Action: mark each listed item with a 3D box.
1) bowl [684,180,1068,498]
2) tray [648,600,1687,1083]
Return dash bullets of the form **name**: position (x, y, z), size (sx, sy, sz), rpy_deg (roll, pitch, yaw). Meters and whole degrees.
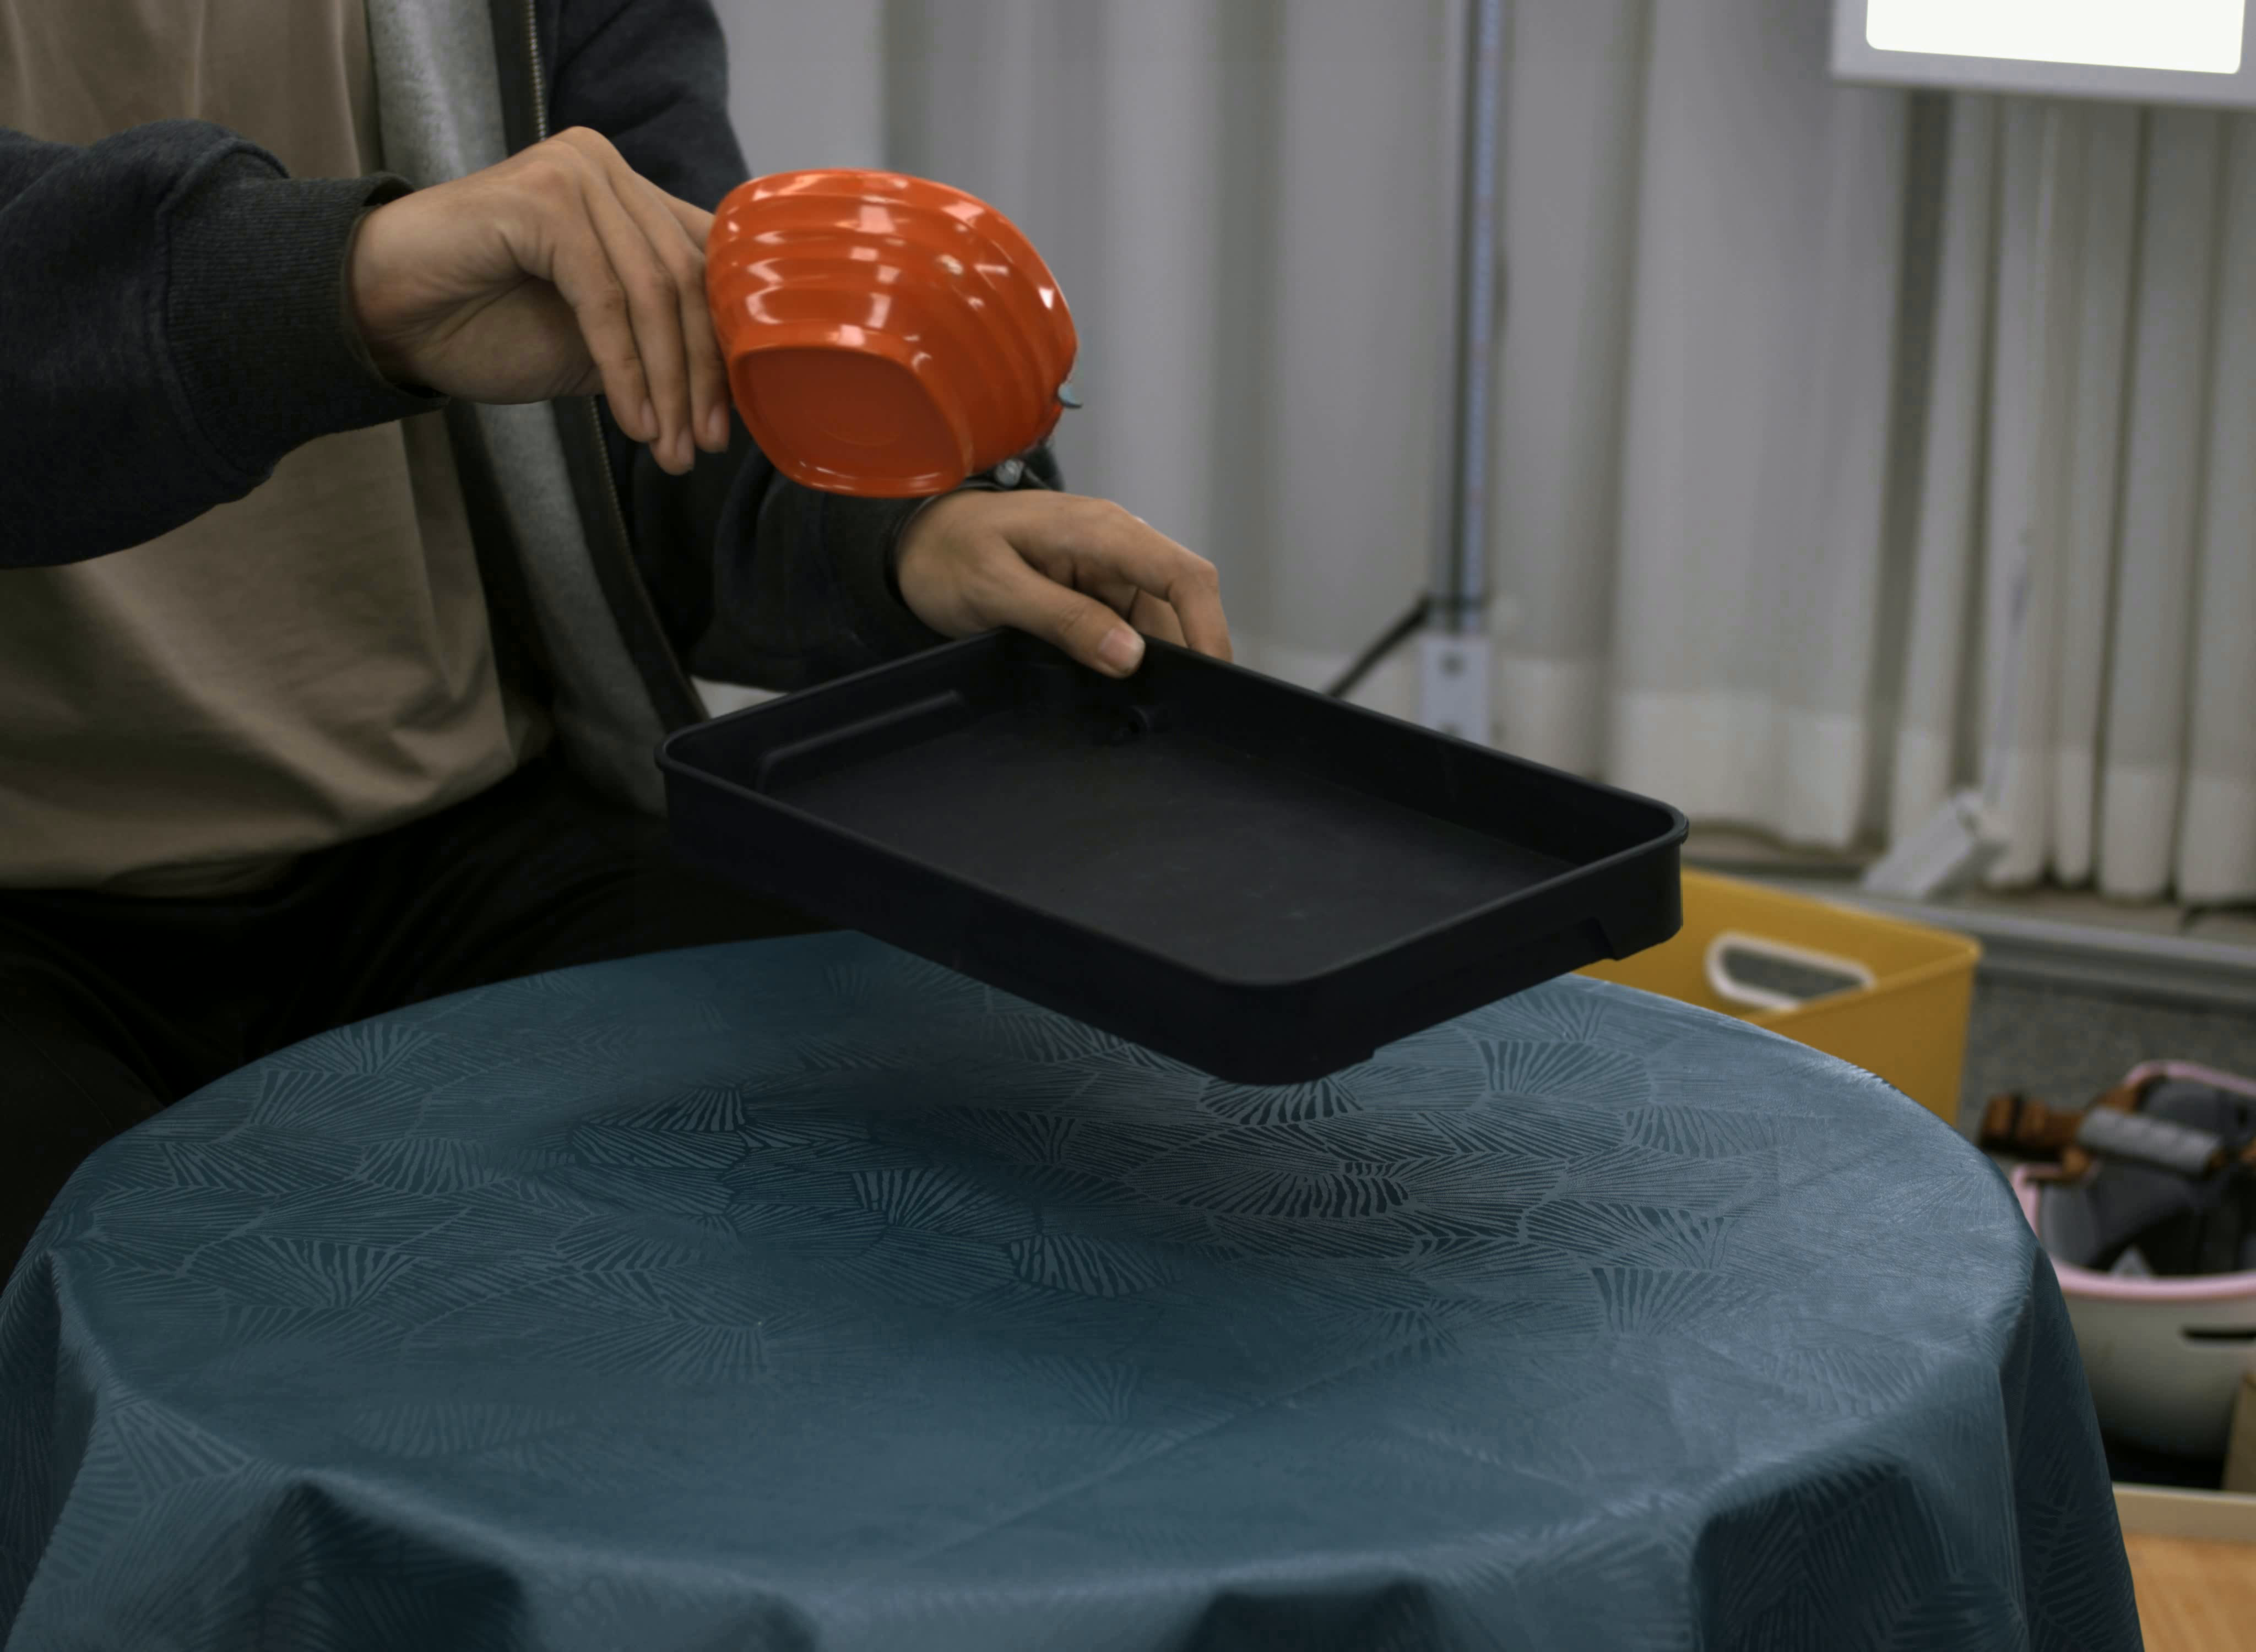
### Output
- **bowl**: position (-0.079, -0.134, 1.521), size (0.118, 0.051, 0.120), rpy_deg (17, -22, 8)
- **tray**: position (0.007, -0.001, 1.646), size (0.185, 0.037, 0.313), rpy_deg (-19, 26, -36)
